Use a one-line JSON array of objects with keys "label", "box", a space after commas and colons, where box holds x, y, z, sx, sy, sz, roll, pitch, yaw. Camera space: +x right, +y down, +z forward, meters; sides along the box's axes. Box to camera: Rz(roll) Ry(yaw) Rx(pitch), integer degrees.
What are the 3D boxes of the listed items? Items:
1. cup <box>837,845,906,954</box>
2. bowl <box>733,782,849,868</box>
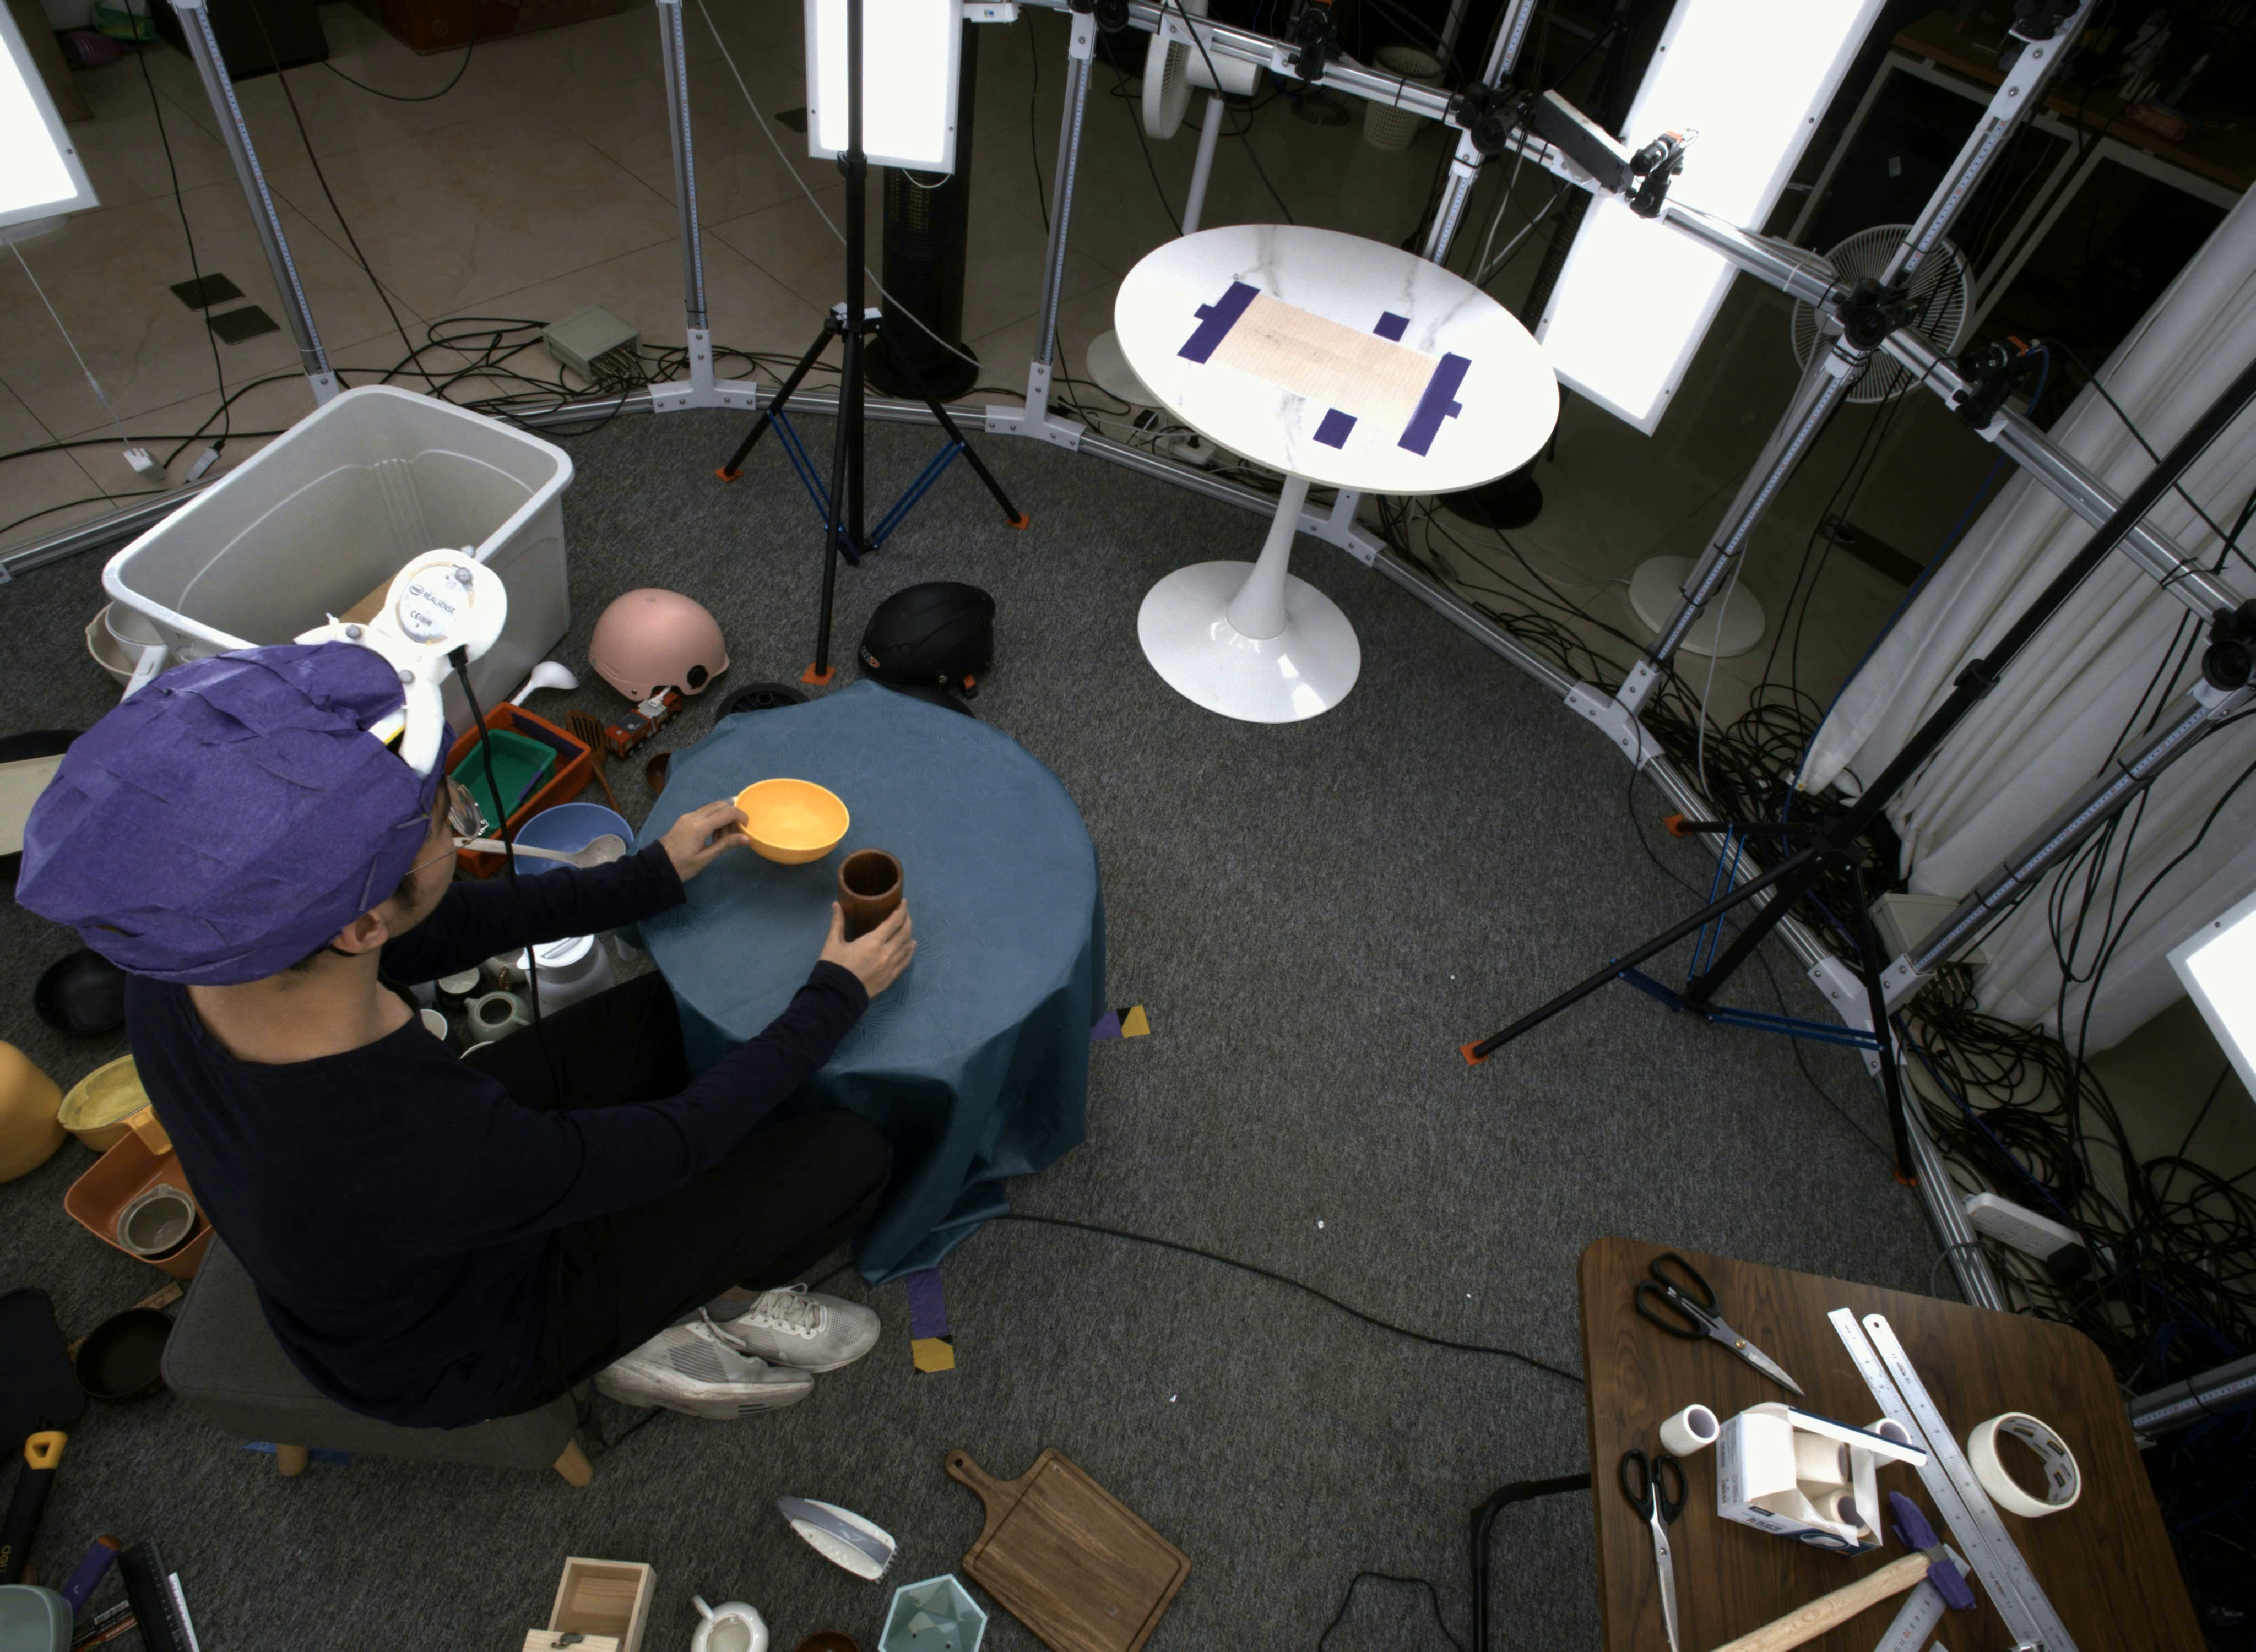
[{"label": "cup", "box": [-0.316, 0.092, 1.609, 0.087, 0.121, 0.086, 5, 50, -4]}, {"label": "bowl", "box": [-0.432, 0.008, 1.655, 0.145, 0.061, 0.142, 13, 36, -8]}]
